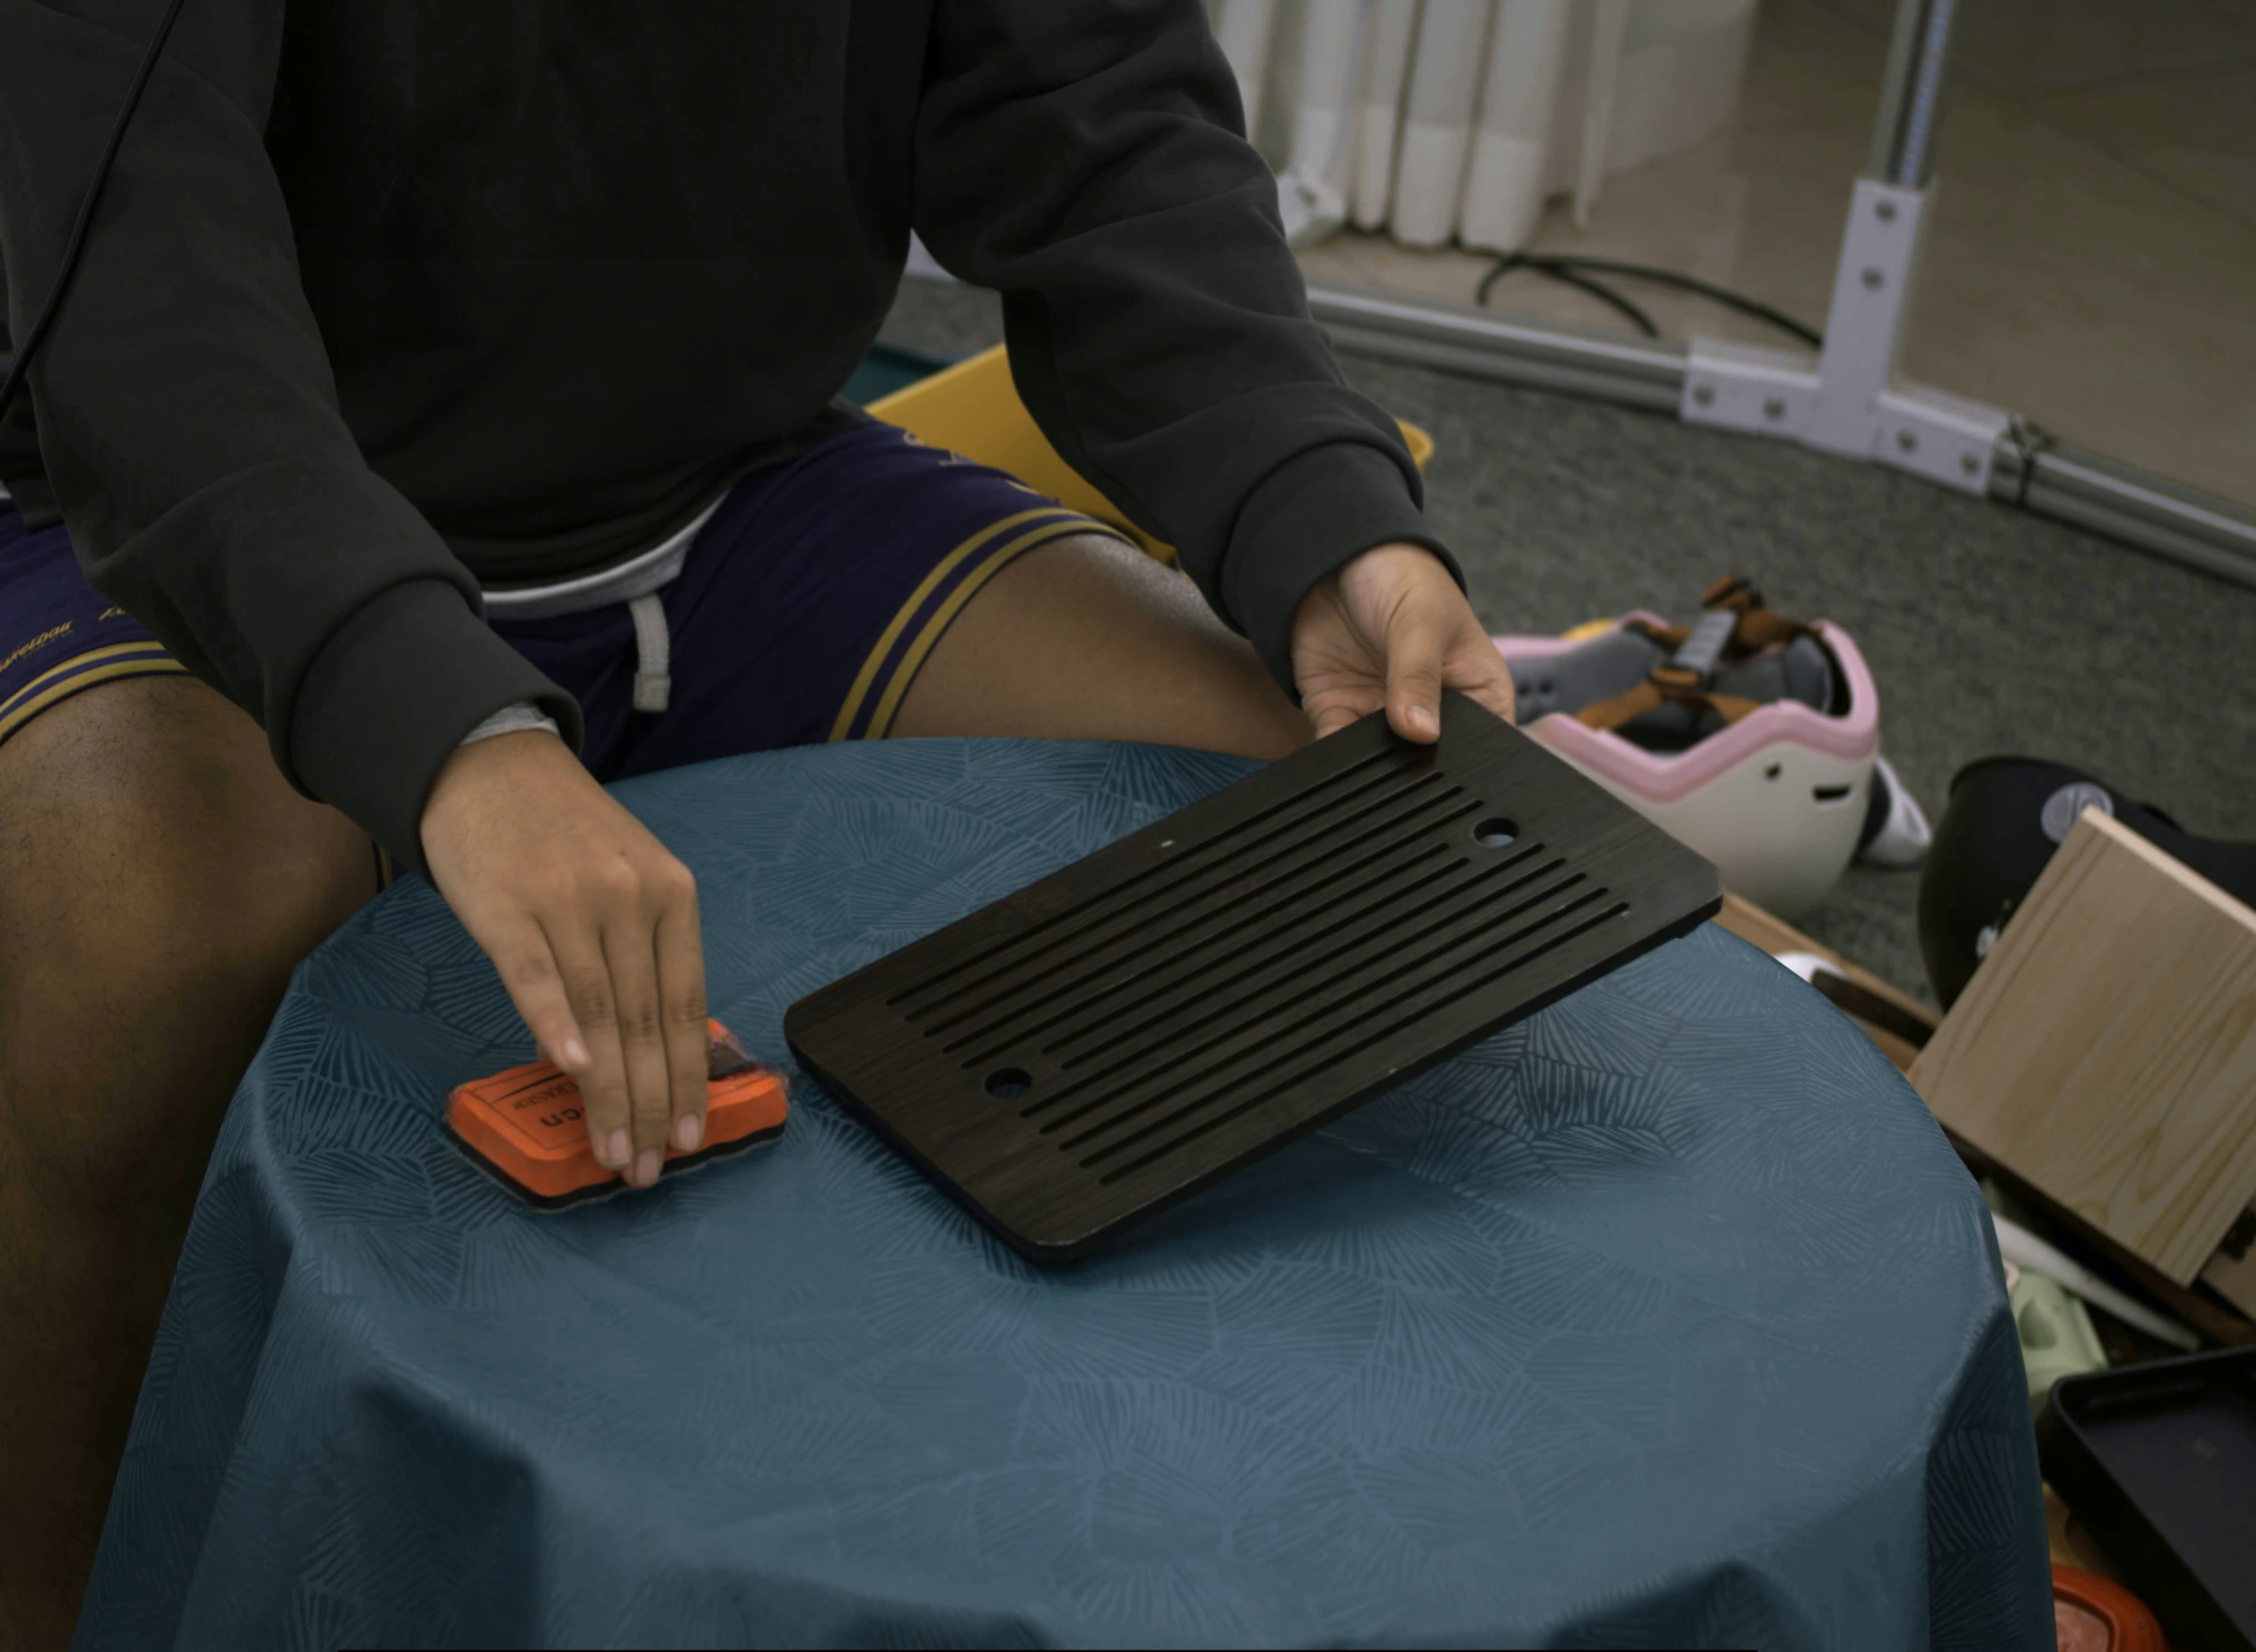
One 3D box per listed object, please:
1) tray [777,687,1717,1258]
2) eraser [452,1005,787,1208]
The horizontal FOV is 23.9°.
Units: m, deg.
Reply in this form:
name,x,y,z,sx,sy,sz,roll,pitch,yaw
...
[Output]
name,x,y,z,sx,sy,sz,roll,pitch,yaw
tray,0.043,0.048,1.866,0.305,0.018,0.171,-26,41,-26
eraser,-0.170,0.094,1.789,0.107,0.023,0.059,-18,35,-37
